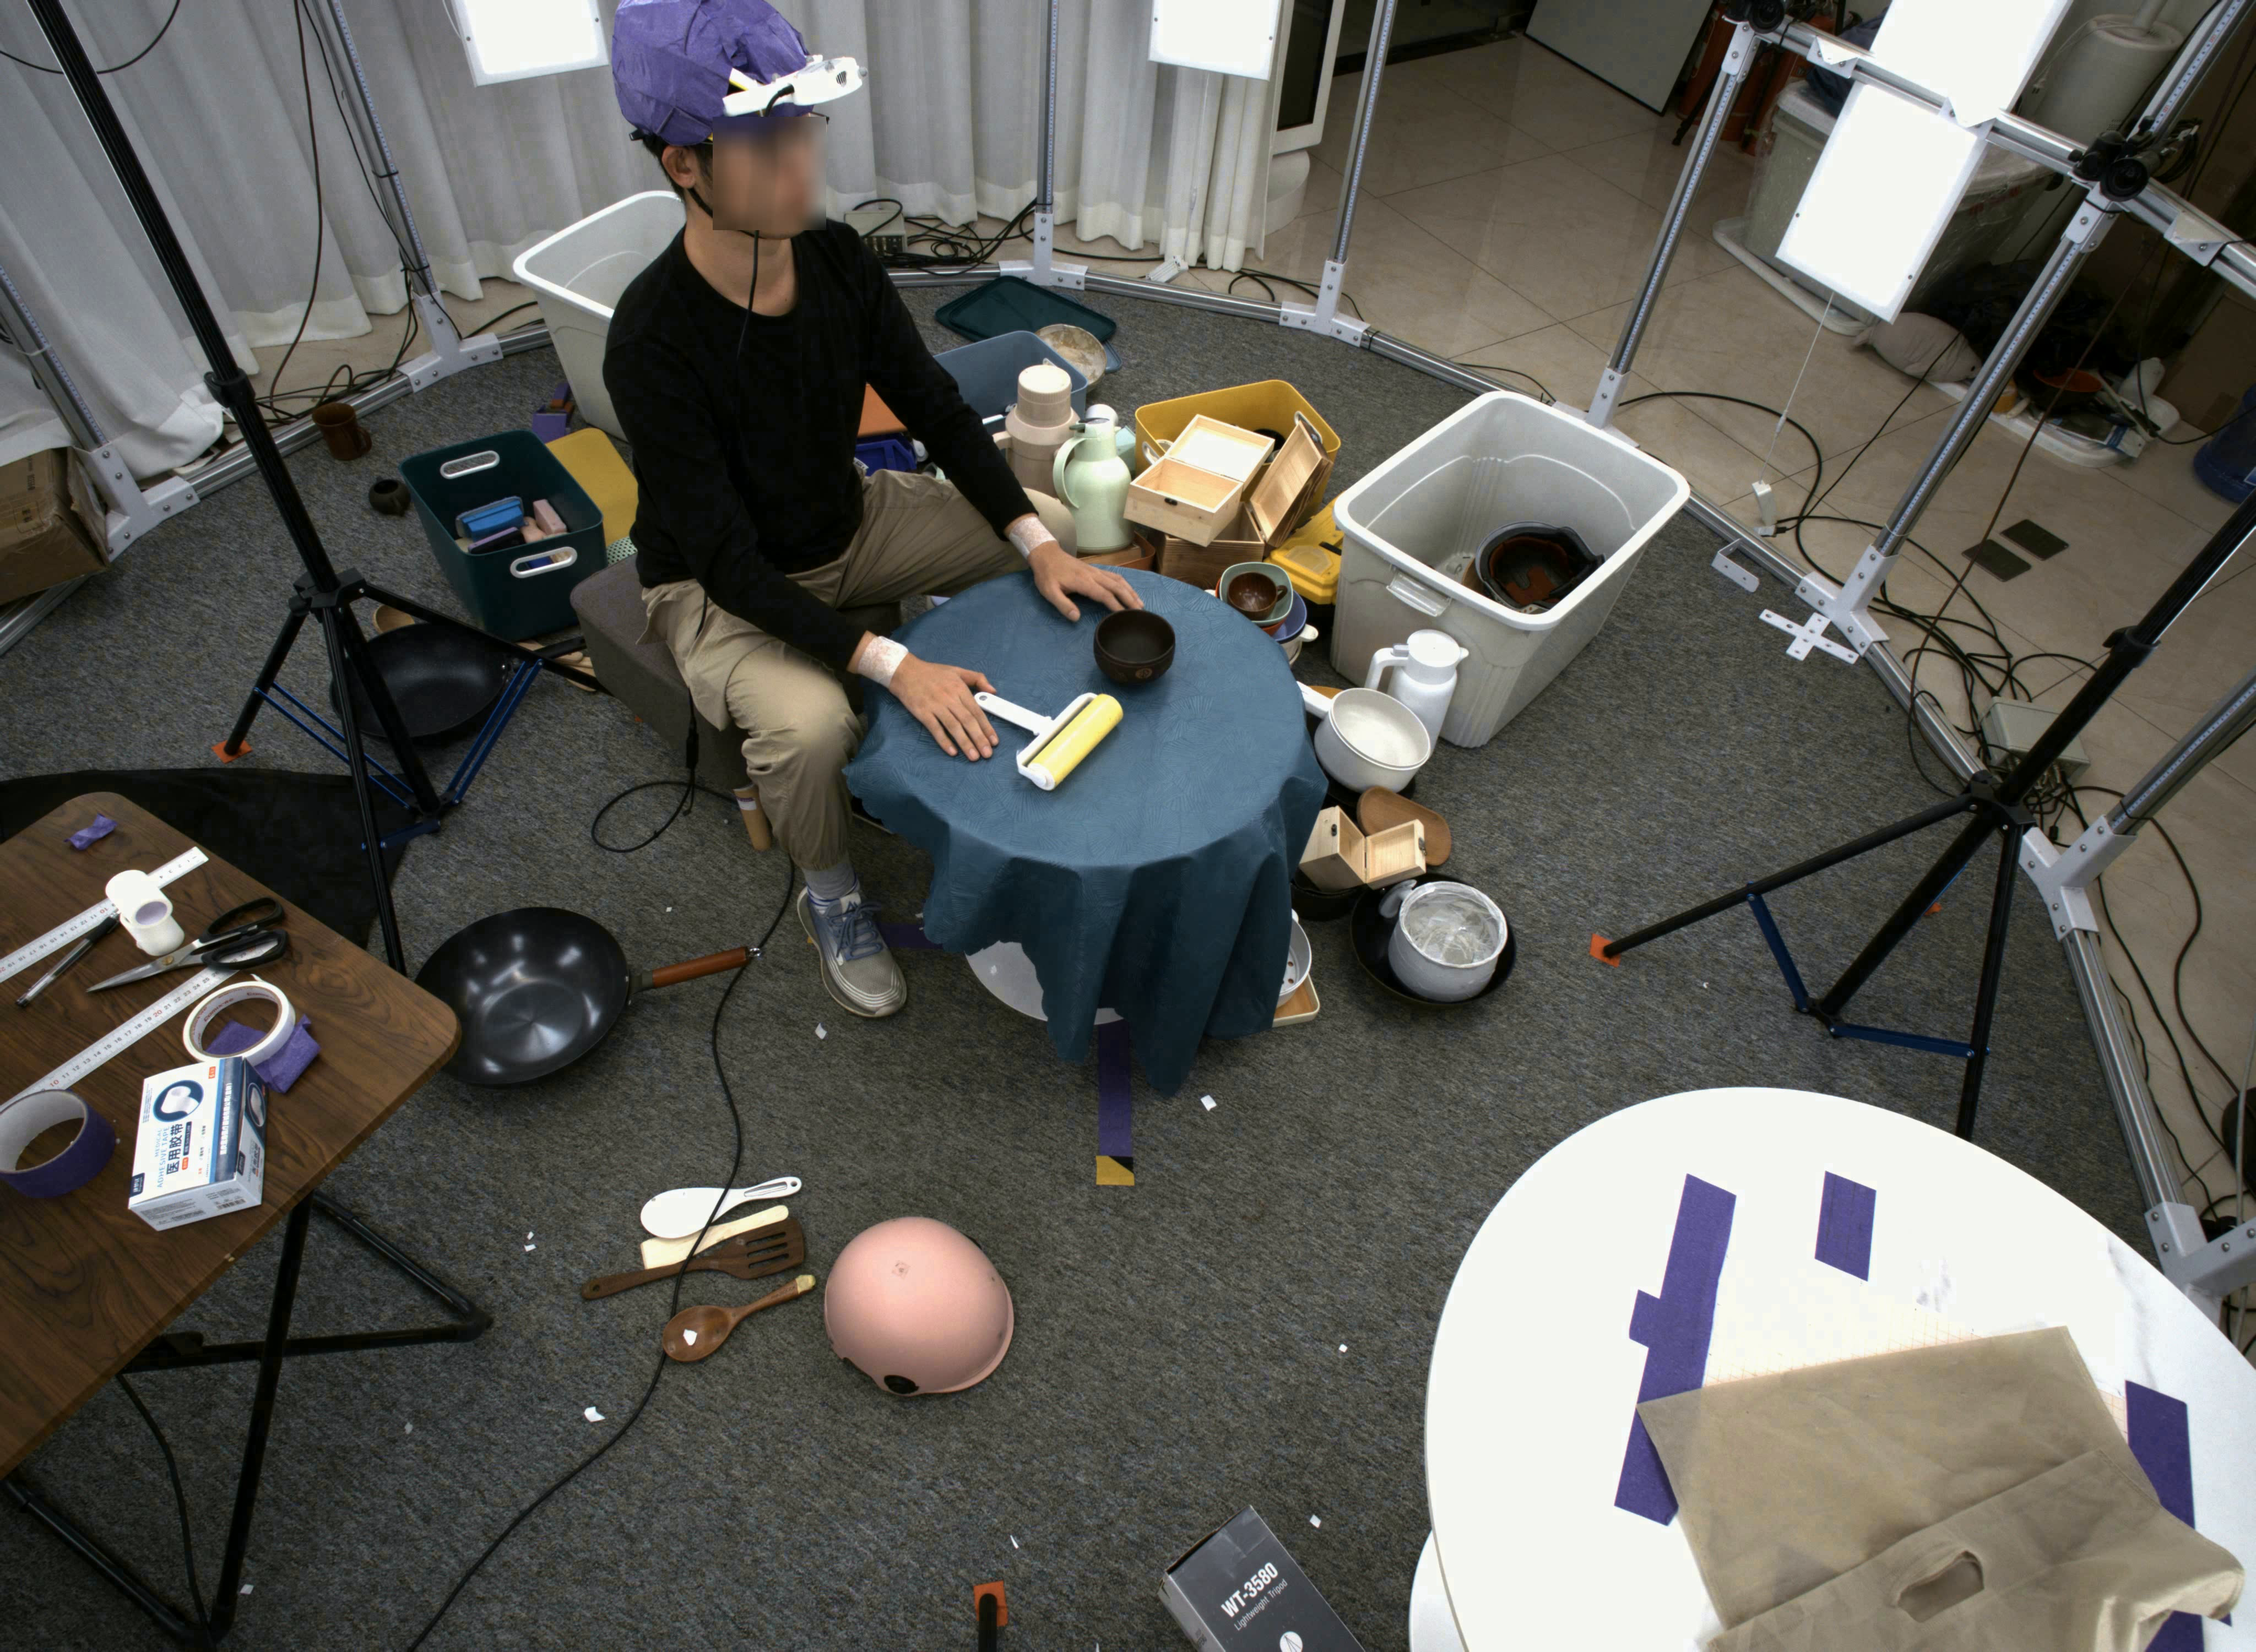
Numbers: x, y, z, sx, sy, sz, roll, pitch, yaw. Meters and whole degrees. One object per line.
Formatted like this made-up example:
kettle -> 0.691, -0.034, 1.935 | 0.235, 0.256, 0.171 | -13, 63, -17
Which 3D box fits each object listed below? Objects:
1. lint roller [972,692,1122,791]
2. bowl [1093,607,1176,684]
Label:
lint roller -> -0.131, -0.147, 1.755 | 0.193, 0.050, 0.177 | 30, 53, 15
bowl -> 0.007, -0.250, 1.839 | 0.118, 0.068, 0.121 | 3, 50, -3
